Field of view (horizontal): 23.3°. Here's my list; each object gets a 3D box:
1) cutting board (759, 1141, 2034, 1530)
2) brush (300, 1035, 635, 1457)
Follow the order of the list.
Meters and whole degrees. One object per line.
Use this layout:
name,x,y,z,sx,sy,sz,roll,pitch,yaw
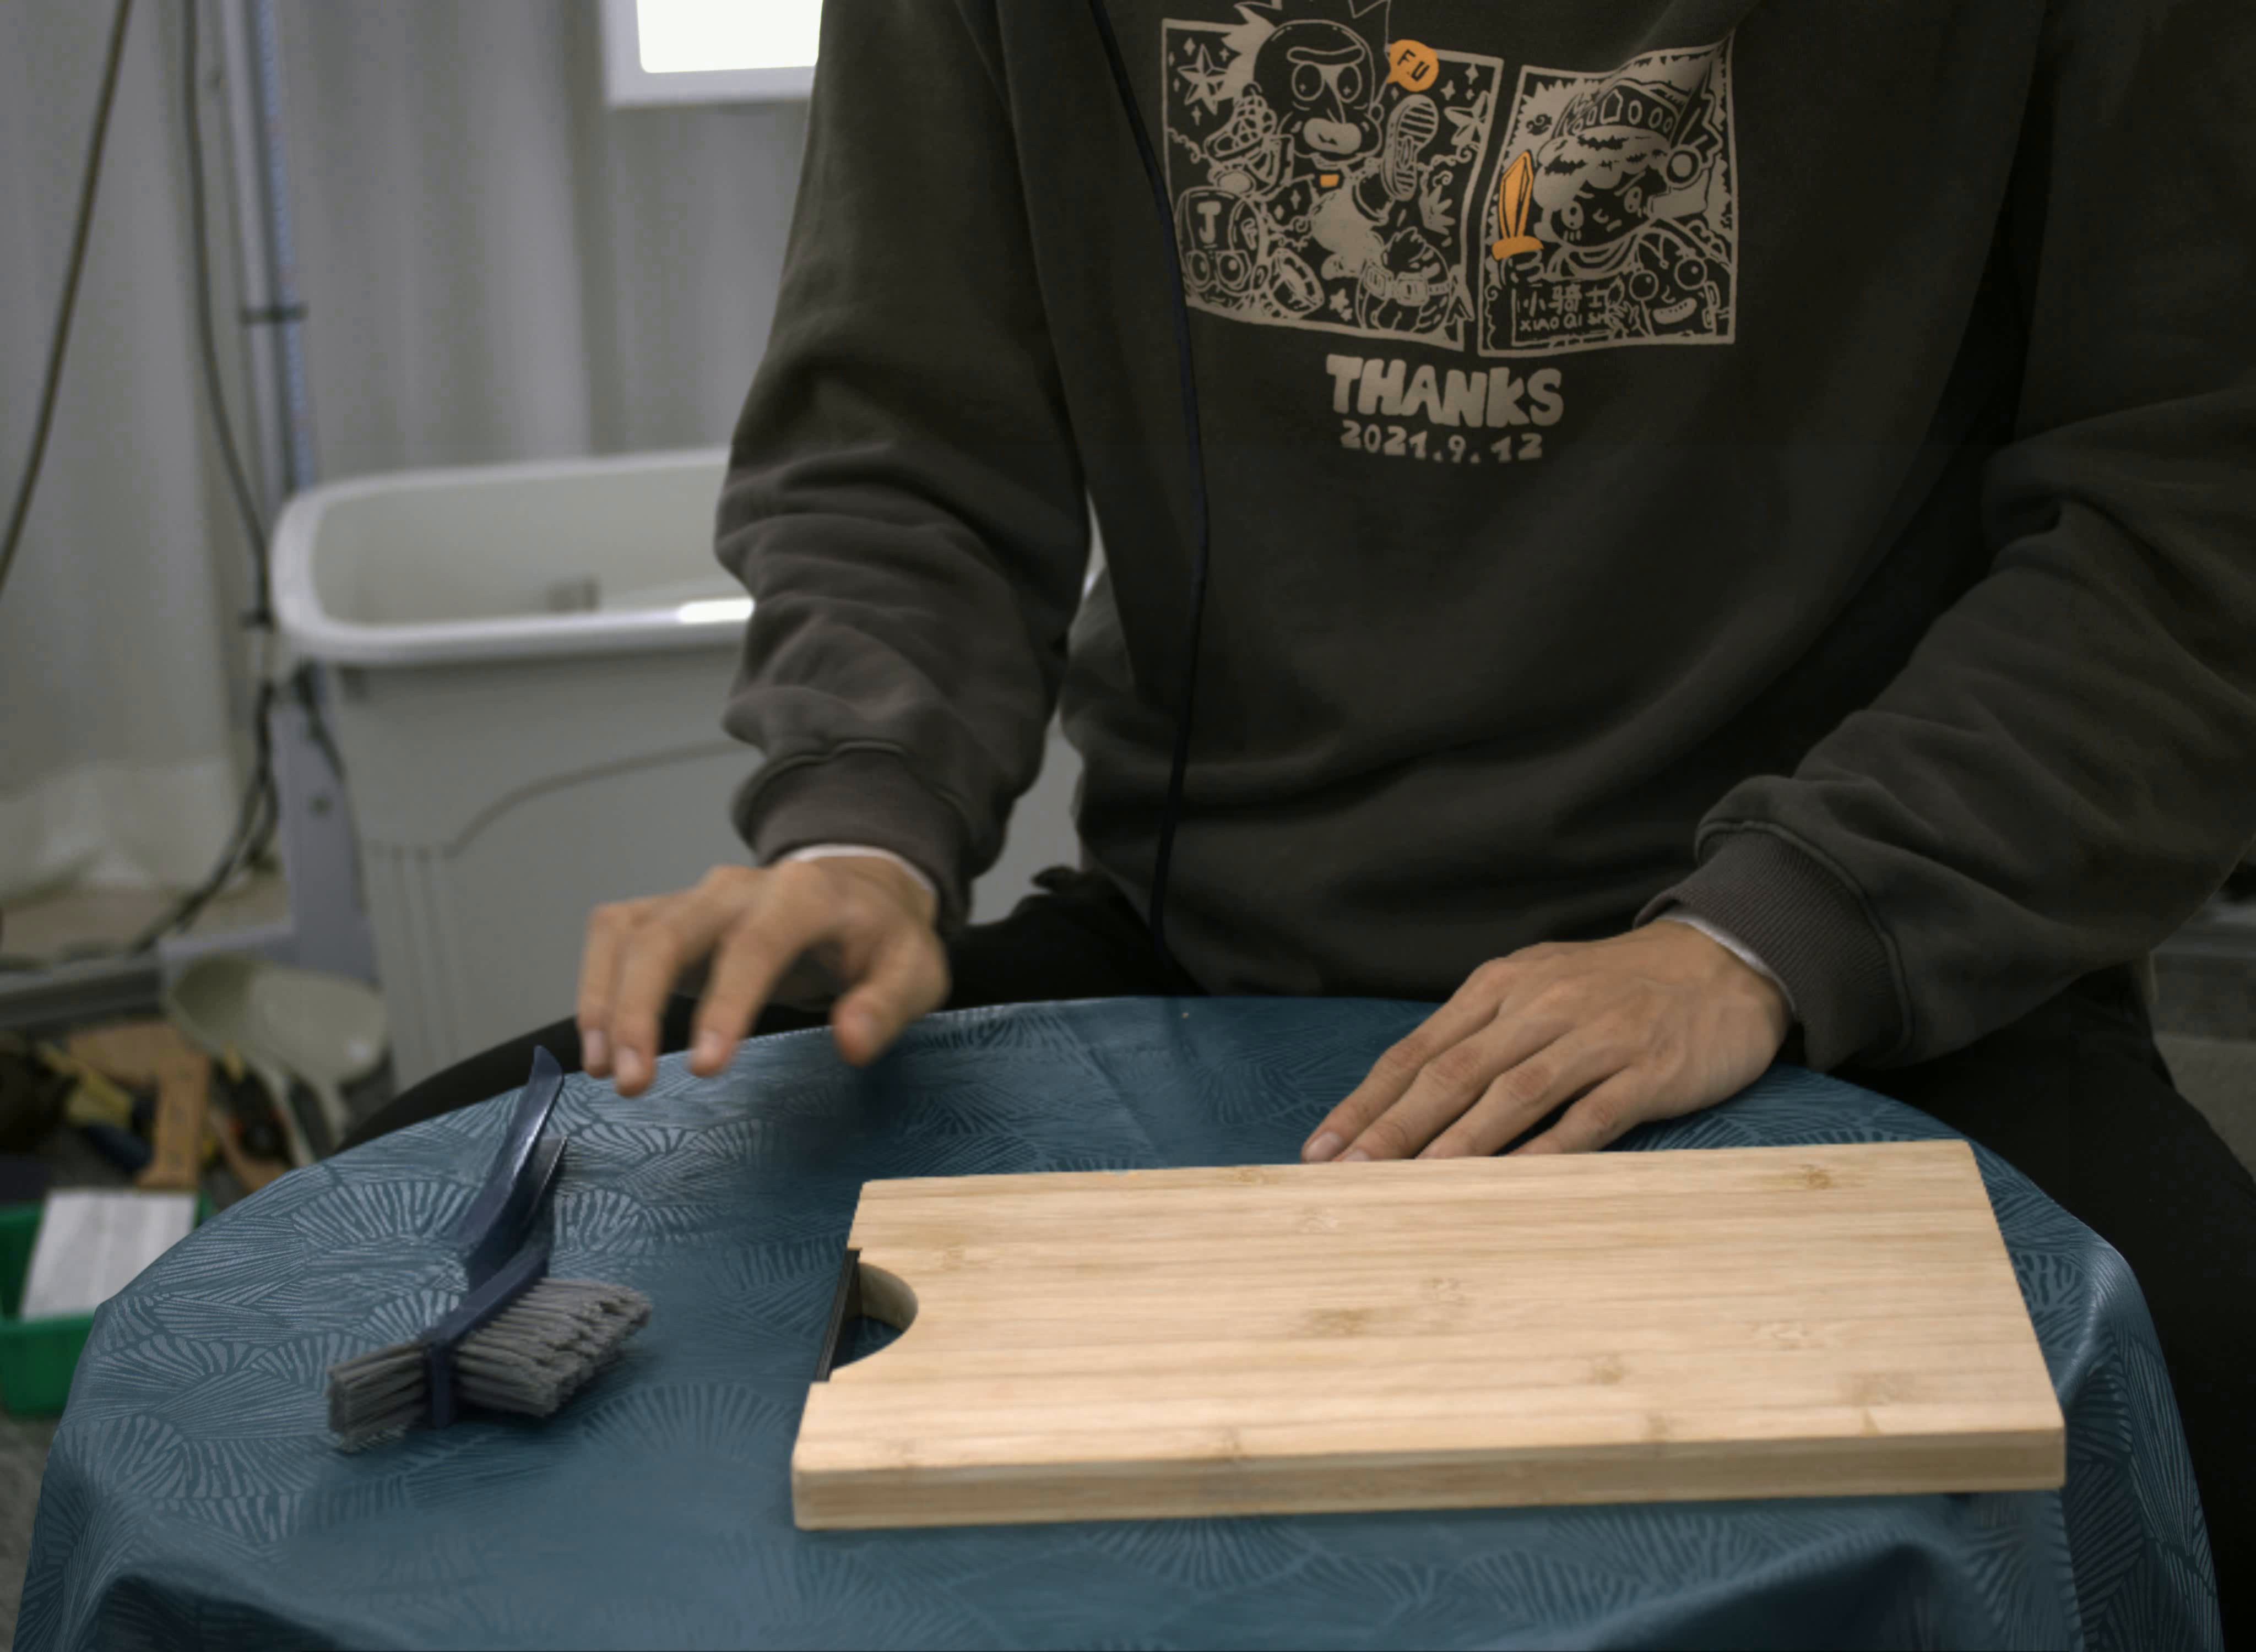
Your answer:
cutting board,0.077,0.144,1.568,0.347,0.023,0.252,-2,14,2
brush,-0.199,0.124,1.667,0.095,0.033,0.275,-4,16,-5
